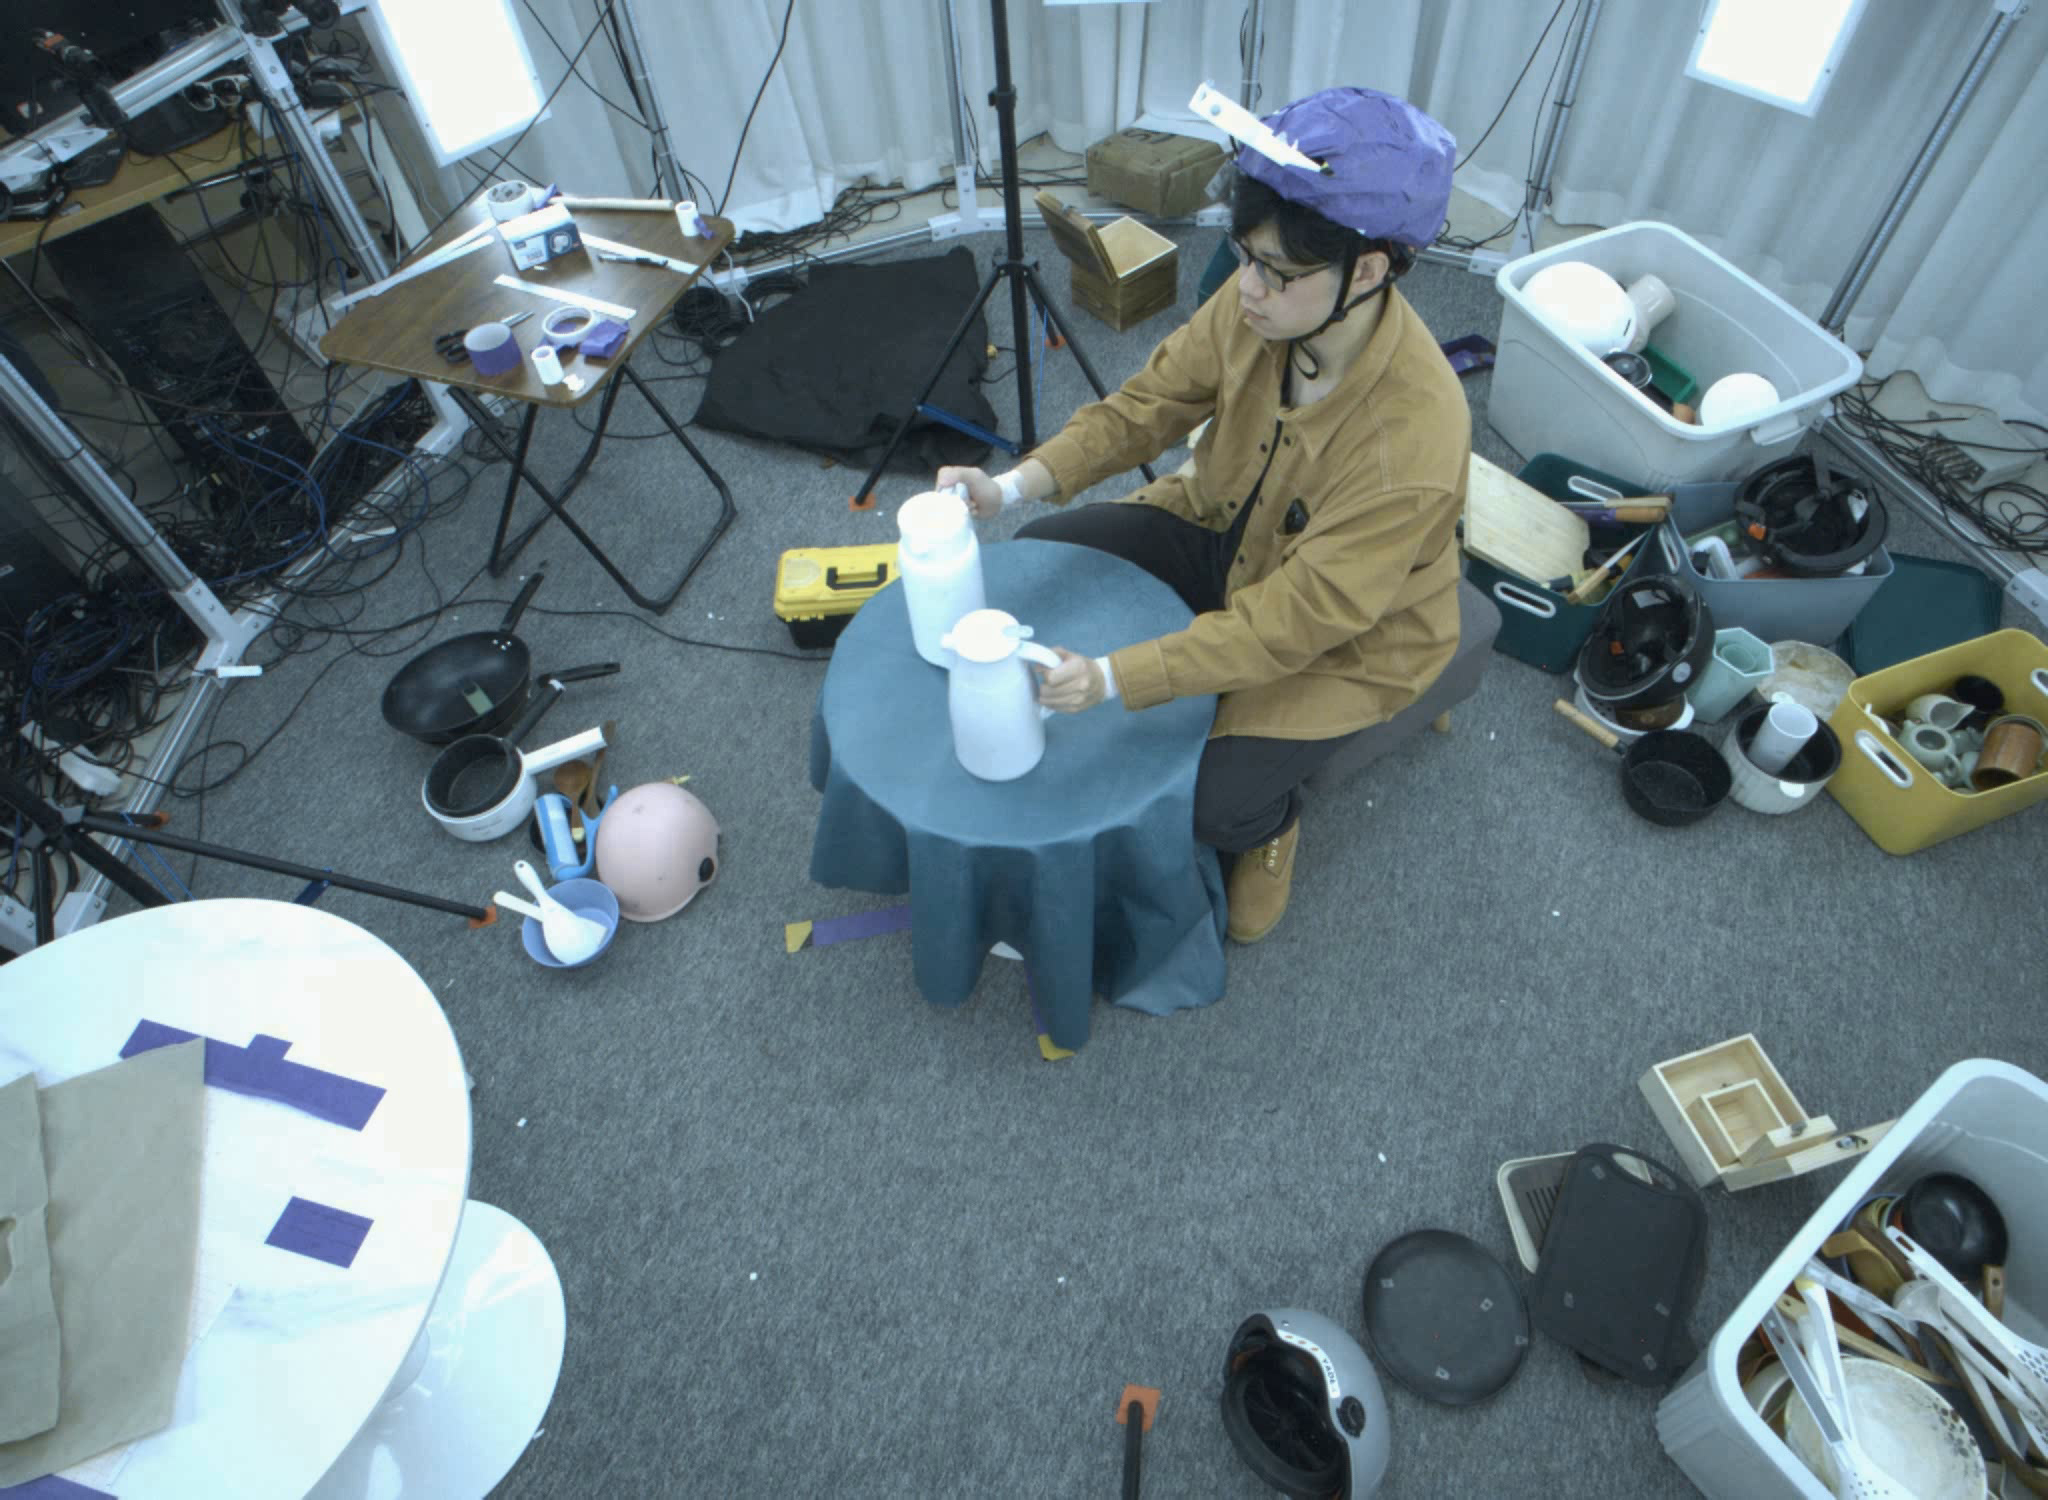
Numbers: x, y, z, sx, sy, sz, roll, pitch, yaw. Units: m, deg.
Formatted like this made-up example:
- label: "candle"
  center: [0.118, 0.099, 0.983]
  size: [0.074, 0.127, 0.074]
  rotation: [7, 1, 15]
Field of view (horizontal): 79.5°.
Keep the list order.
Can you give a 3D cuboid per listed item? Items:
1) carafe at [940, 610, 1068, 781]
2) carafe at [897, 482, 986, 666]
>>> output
- label: "carafe"
  center: [-0.023, -0.081, 1.688]
  size: [0.167, 0.251, 0.131]
  rotation: [2, 54, 3]
- label: "carafe"
  center: [-0.117, -0.262, 1.809]
  size: [0.122, 0.272, 0.172]
  rotation: [11, 56, 14]
